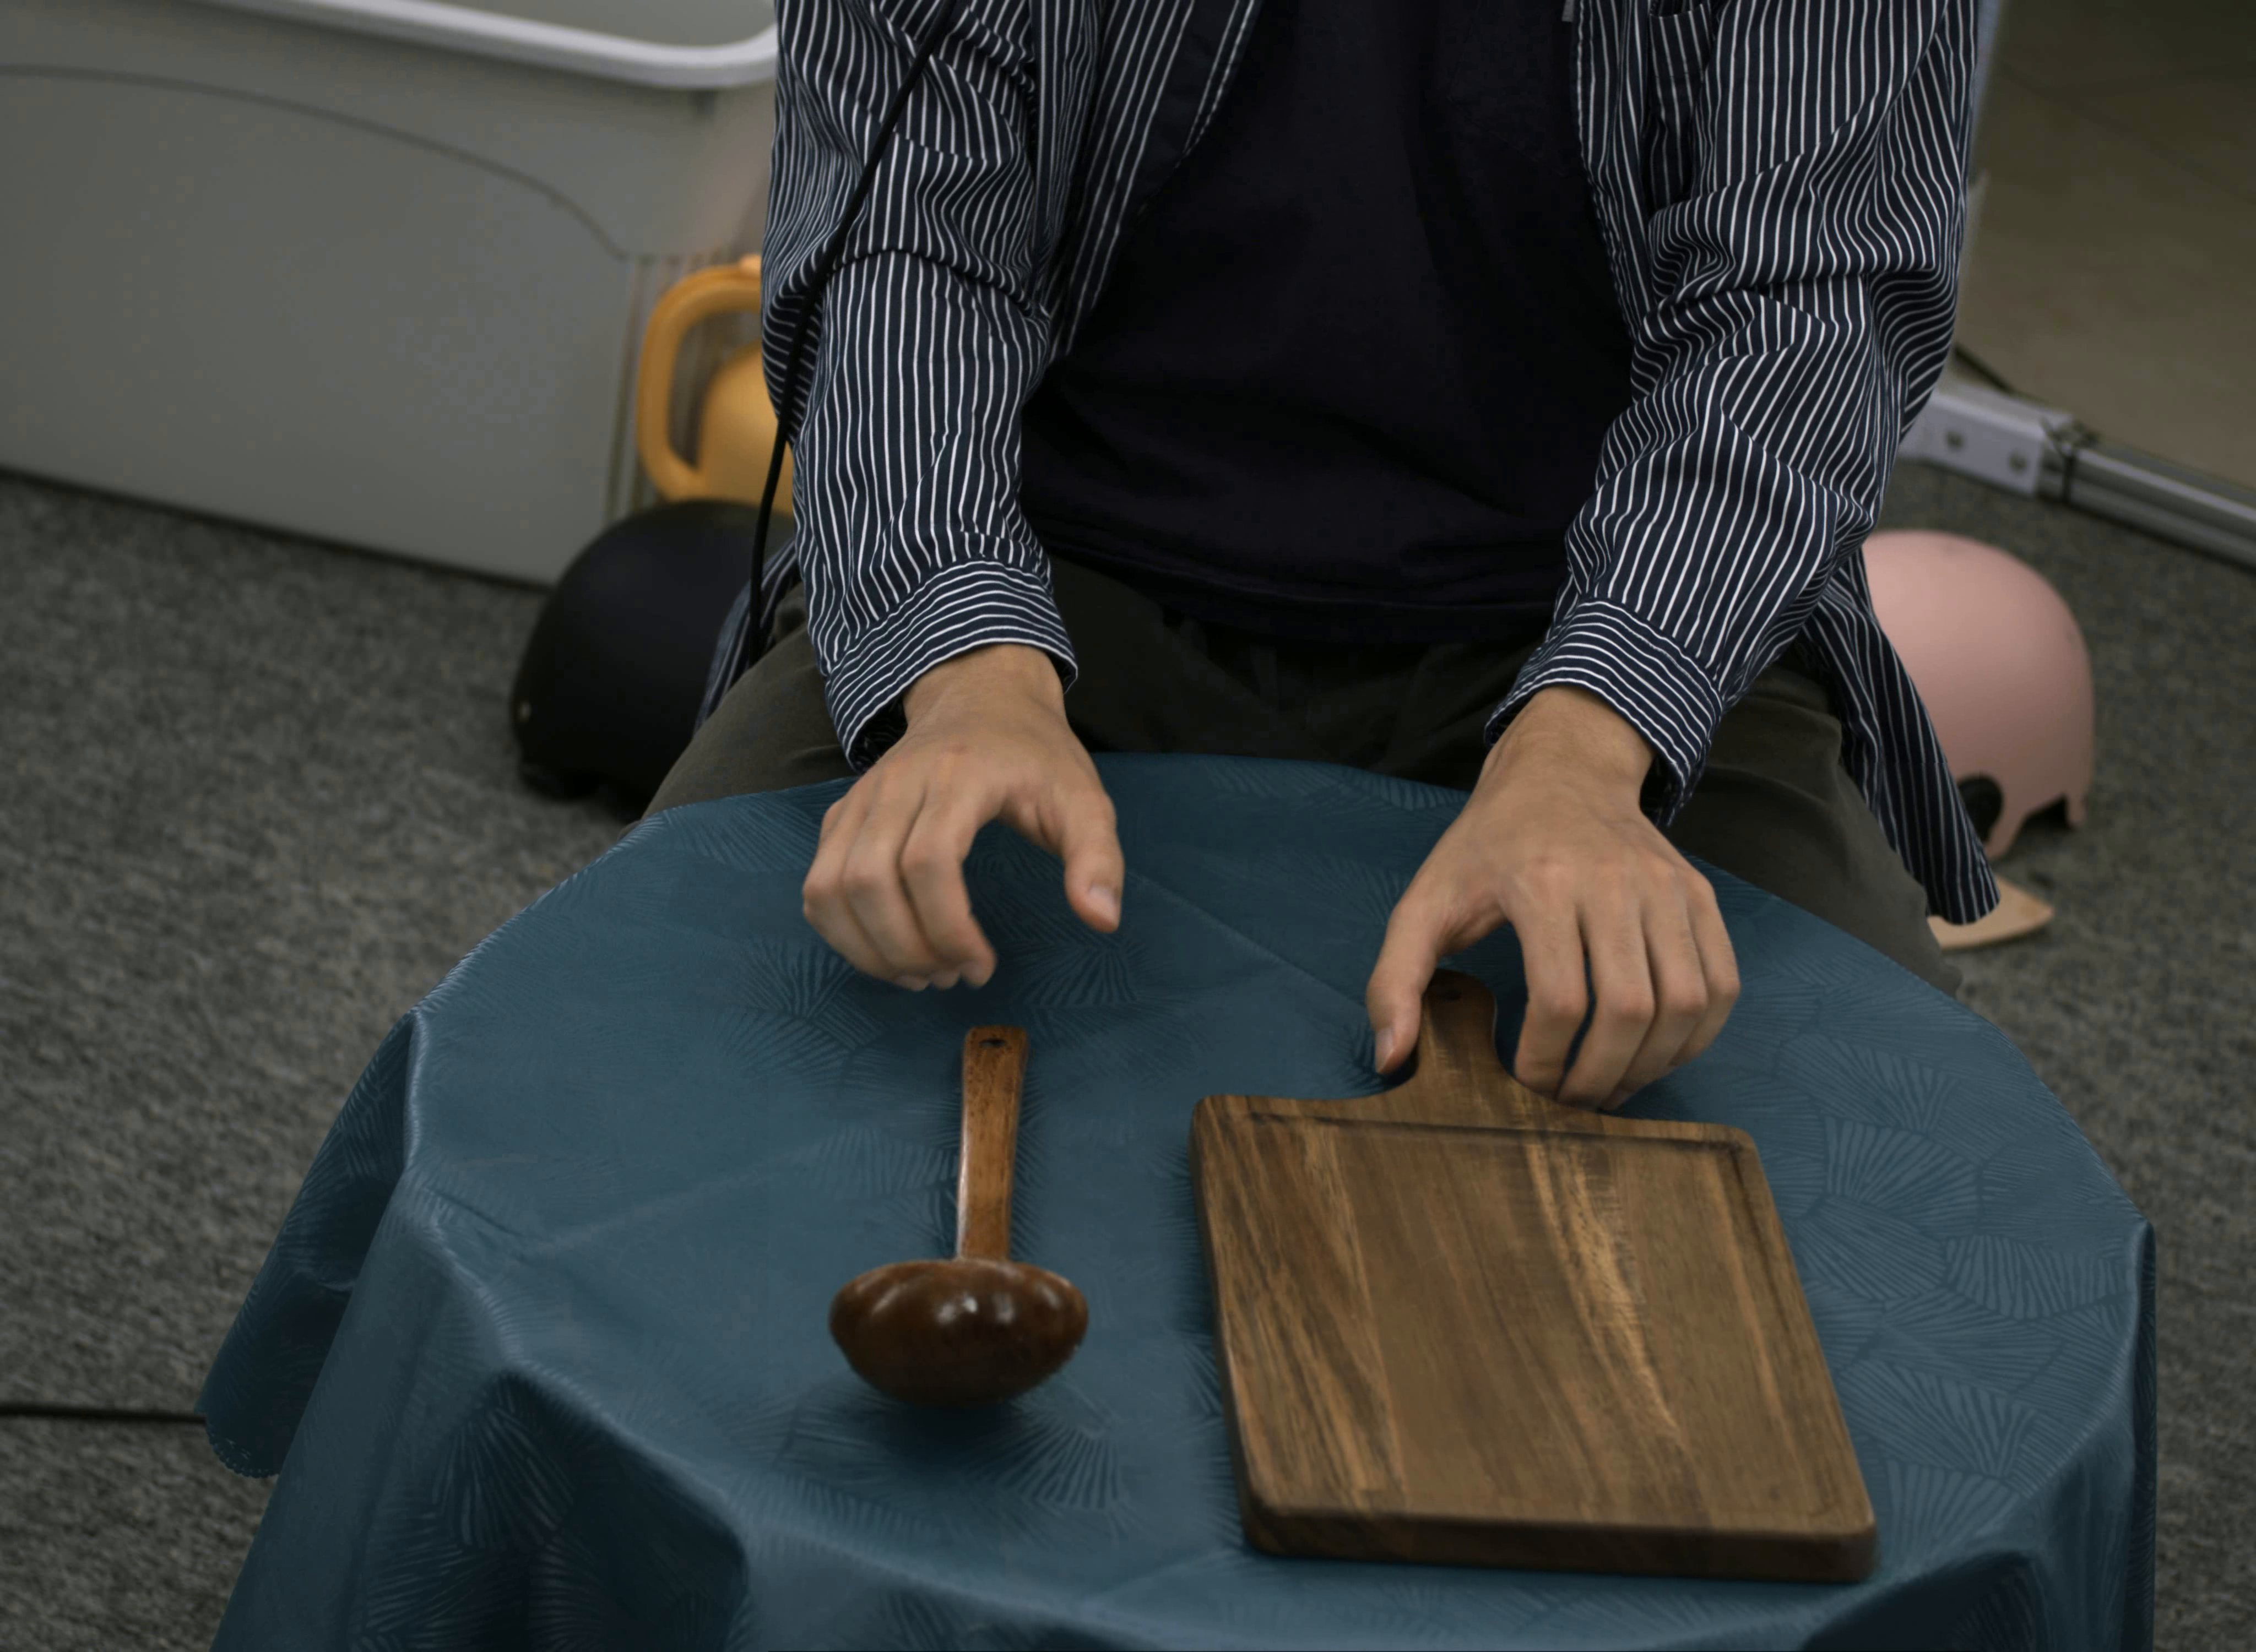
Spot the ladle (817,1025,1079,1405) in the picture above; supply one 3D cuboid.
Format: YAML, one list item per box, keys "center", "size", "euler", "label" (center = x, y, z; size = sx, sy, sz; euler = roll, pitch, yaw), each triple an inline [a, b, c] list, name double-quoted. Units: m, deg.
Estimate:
- center: [-0.050, 0.106, 1.737]
  size: [0.082, 0.076, 0.275]
  euler: [3, 27, 2]
  label: "ladle"

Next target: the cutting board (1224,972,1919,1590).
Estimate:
- center: [0.136, 0.141, 1.770]
  size: [0.200, 0.023, 0.354]
  euler: [4, 27, -5]
  label: "cutting board"
